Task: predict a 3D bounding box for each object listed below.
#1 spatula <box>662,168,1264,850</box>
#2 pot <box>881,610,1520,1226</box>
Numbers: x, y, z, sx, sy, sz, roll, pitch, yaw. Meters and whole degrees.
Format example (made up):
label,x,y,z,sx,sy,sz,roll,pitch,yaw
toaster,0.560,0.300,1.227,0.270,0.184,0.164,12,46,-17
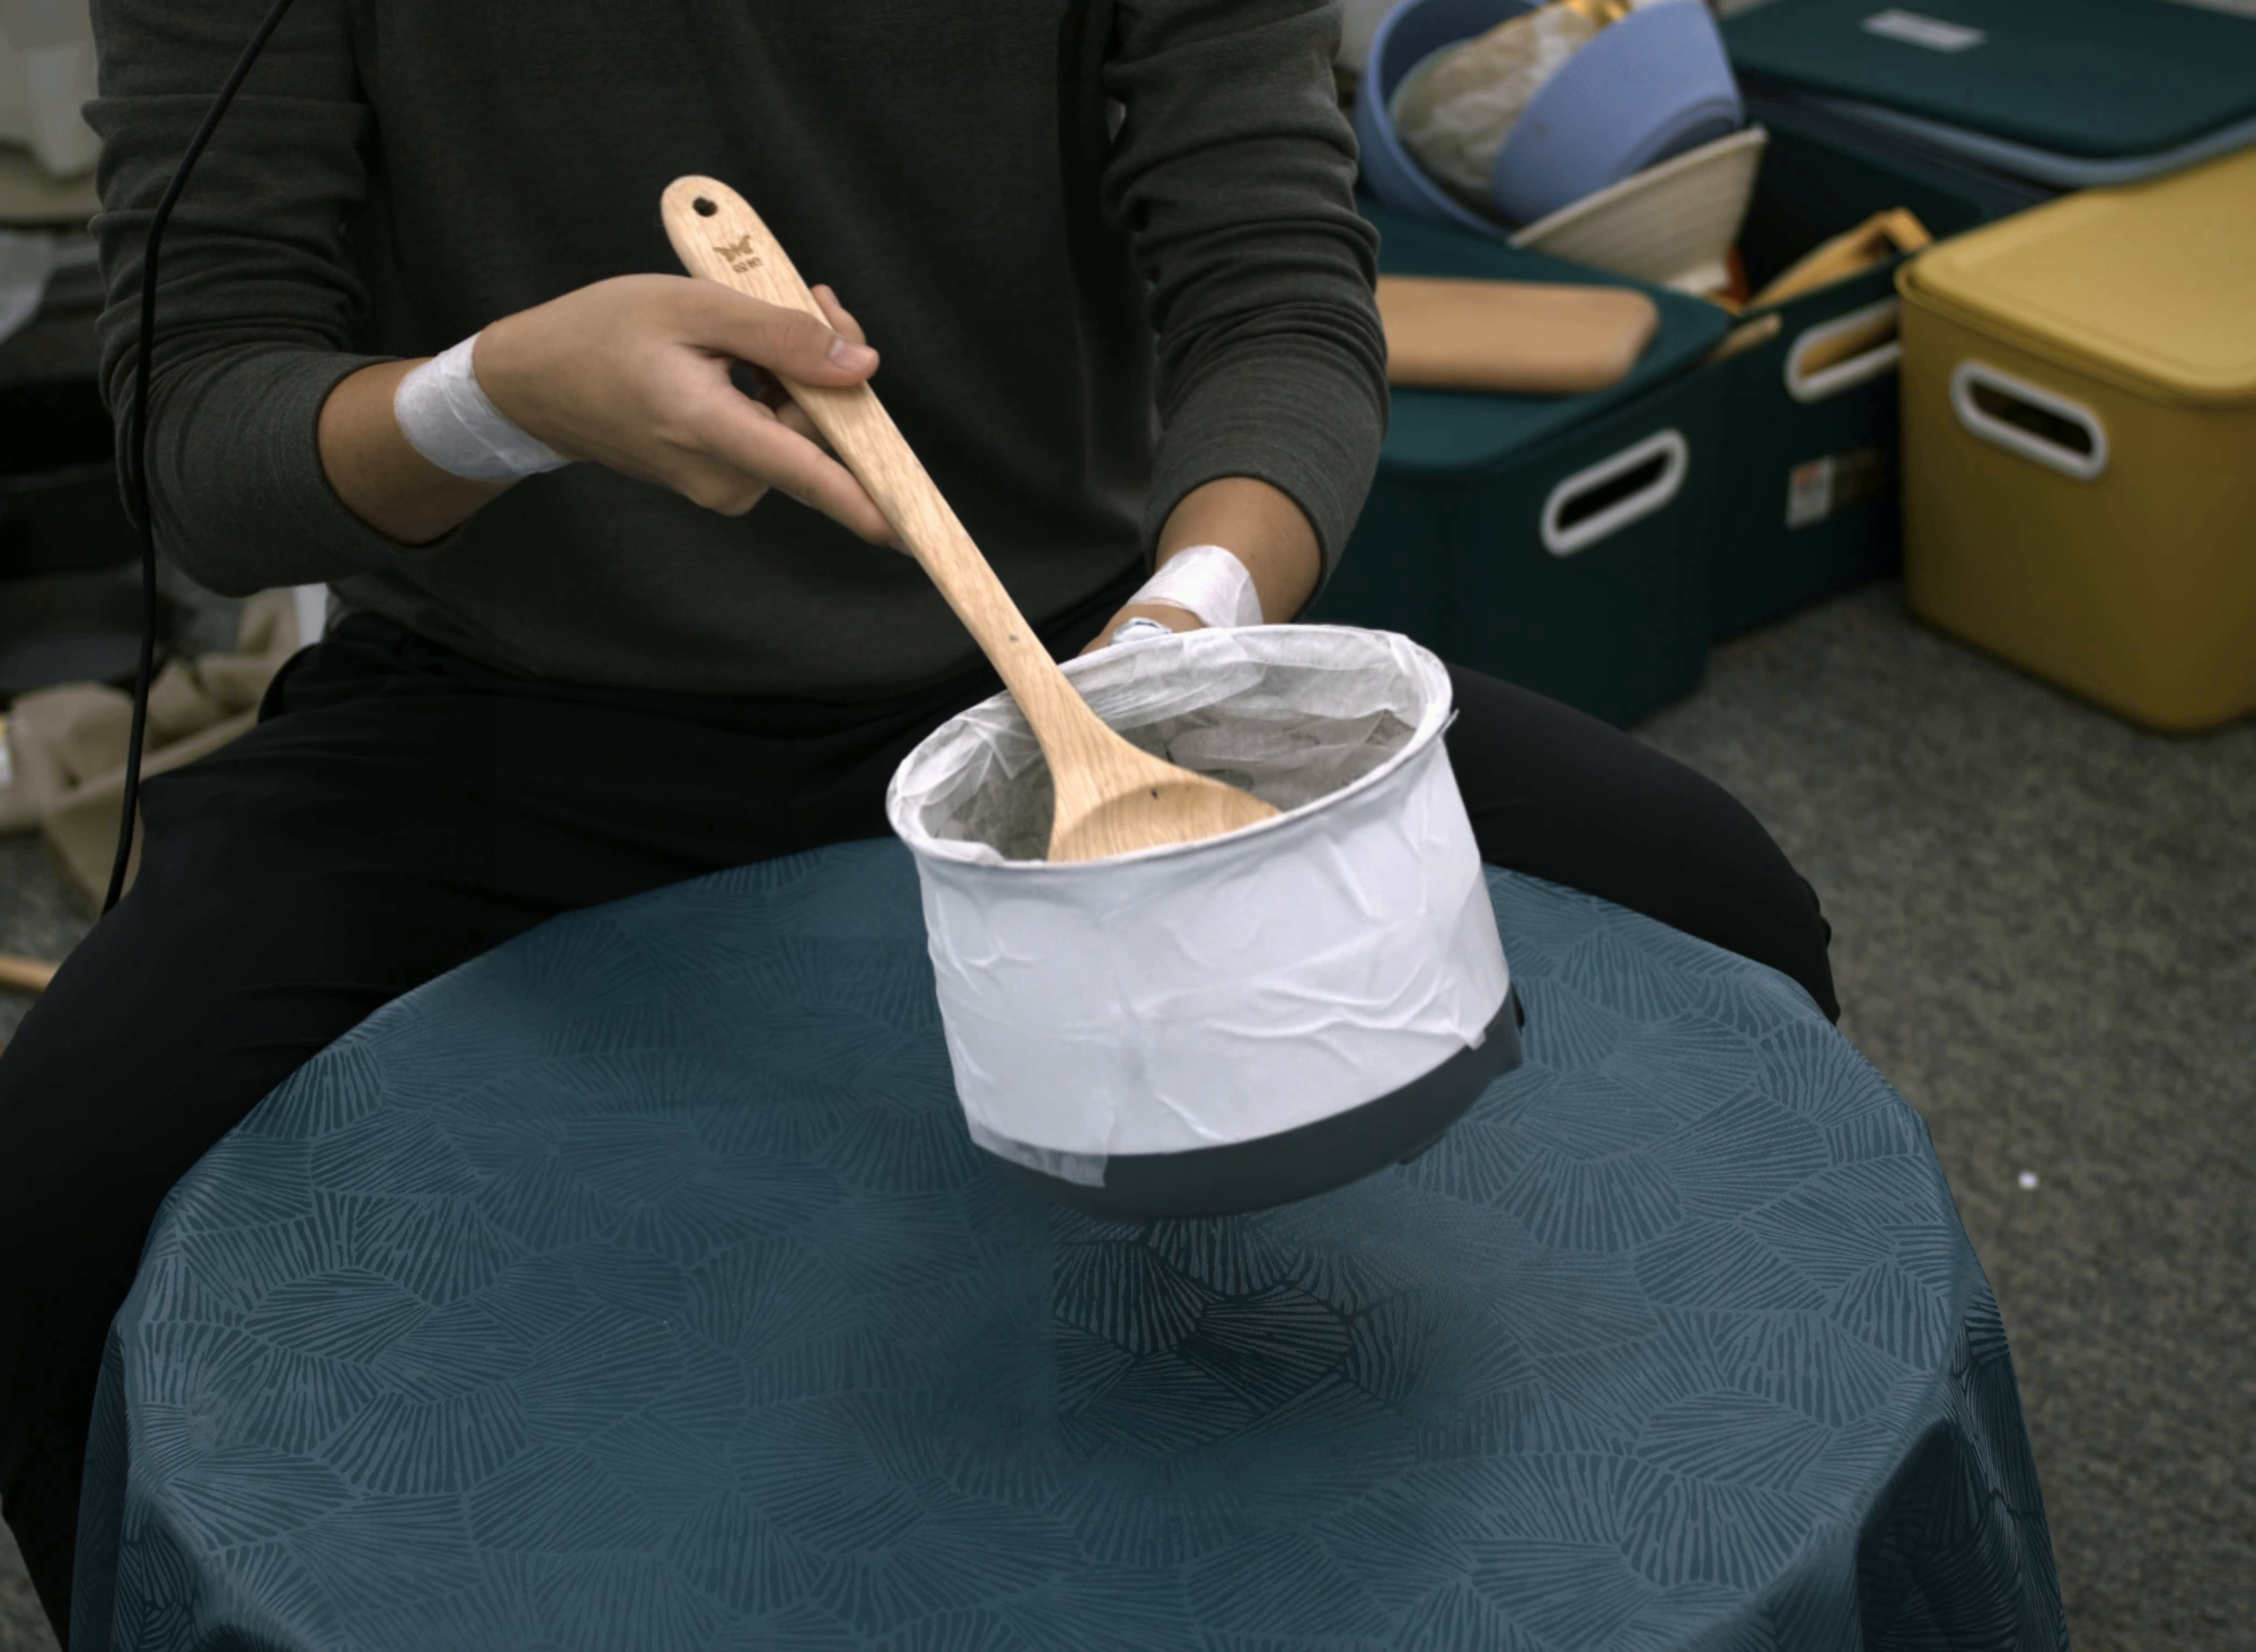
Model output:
label,x,y,z,sx,sy,sz,roll,pitch,yaw
spatula,-0.057,-0.078,1.794,0.096,0.018,0.395,-21,58,-22
pot,0.020,0.020,1.754,0.178,0.135,0.236,-13,22,-3
